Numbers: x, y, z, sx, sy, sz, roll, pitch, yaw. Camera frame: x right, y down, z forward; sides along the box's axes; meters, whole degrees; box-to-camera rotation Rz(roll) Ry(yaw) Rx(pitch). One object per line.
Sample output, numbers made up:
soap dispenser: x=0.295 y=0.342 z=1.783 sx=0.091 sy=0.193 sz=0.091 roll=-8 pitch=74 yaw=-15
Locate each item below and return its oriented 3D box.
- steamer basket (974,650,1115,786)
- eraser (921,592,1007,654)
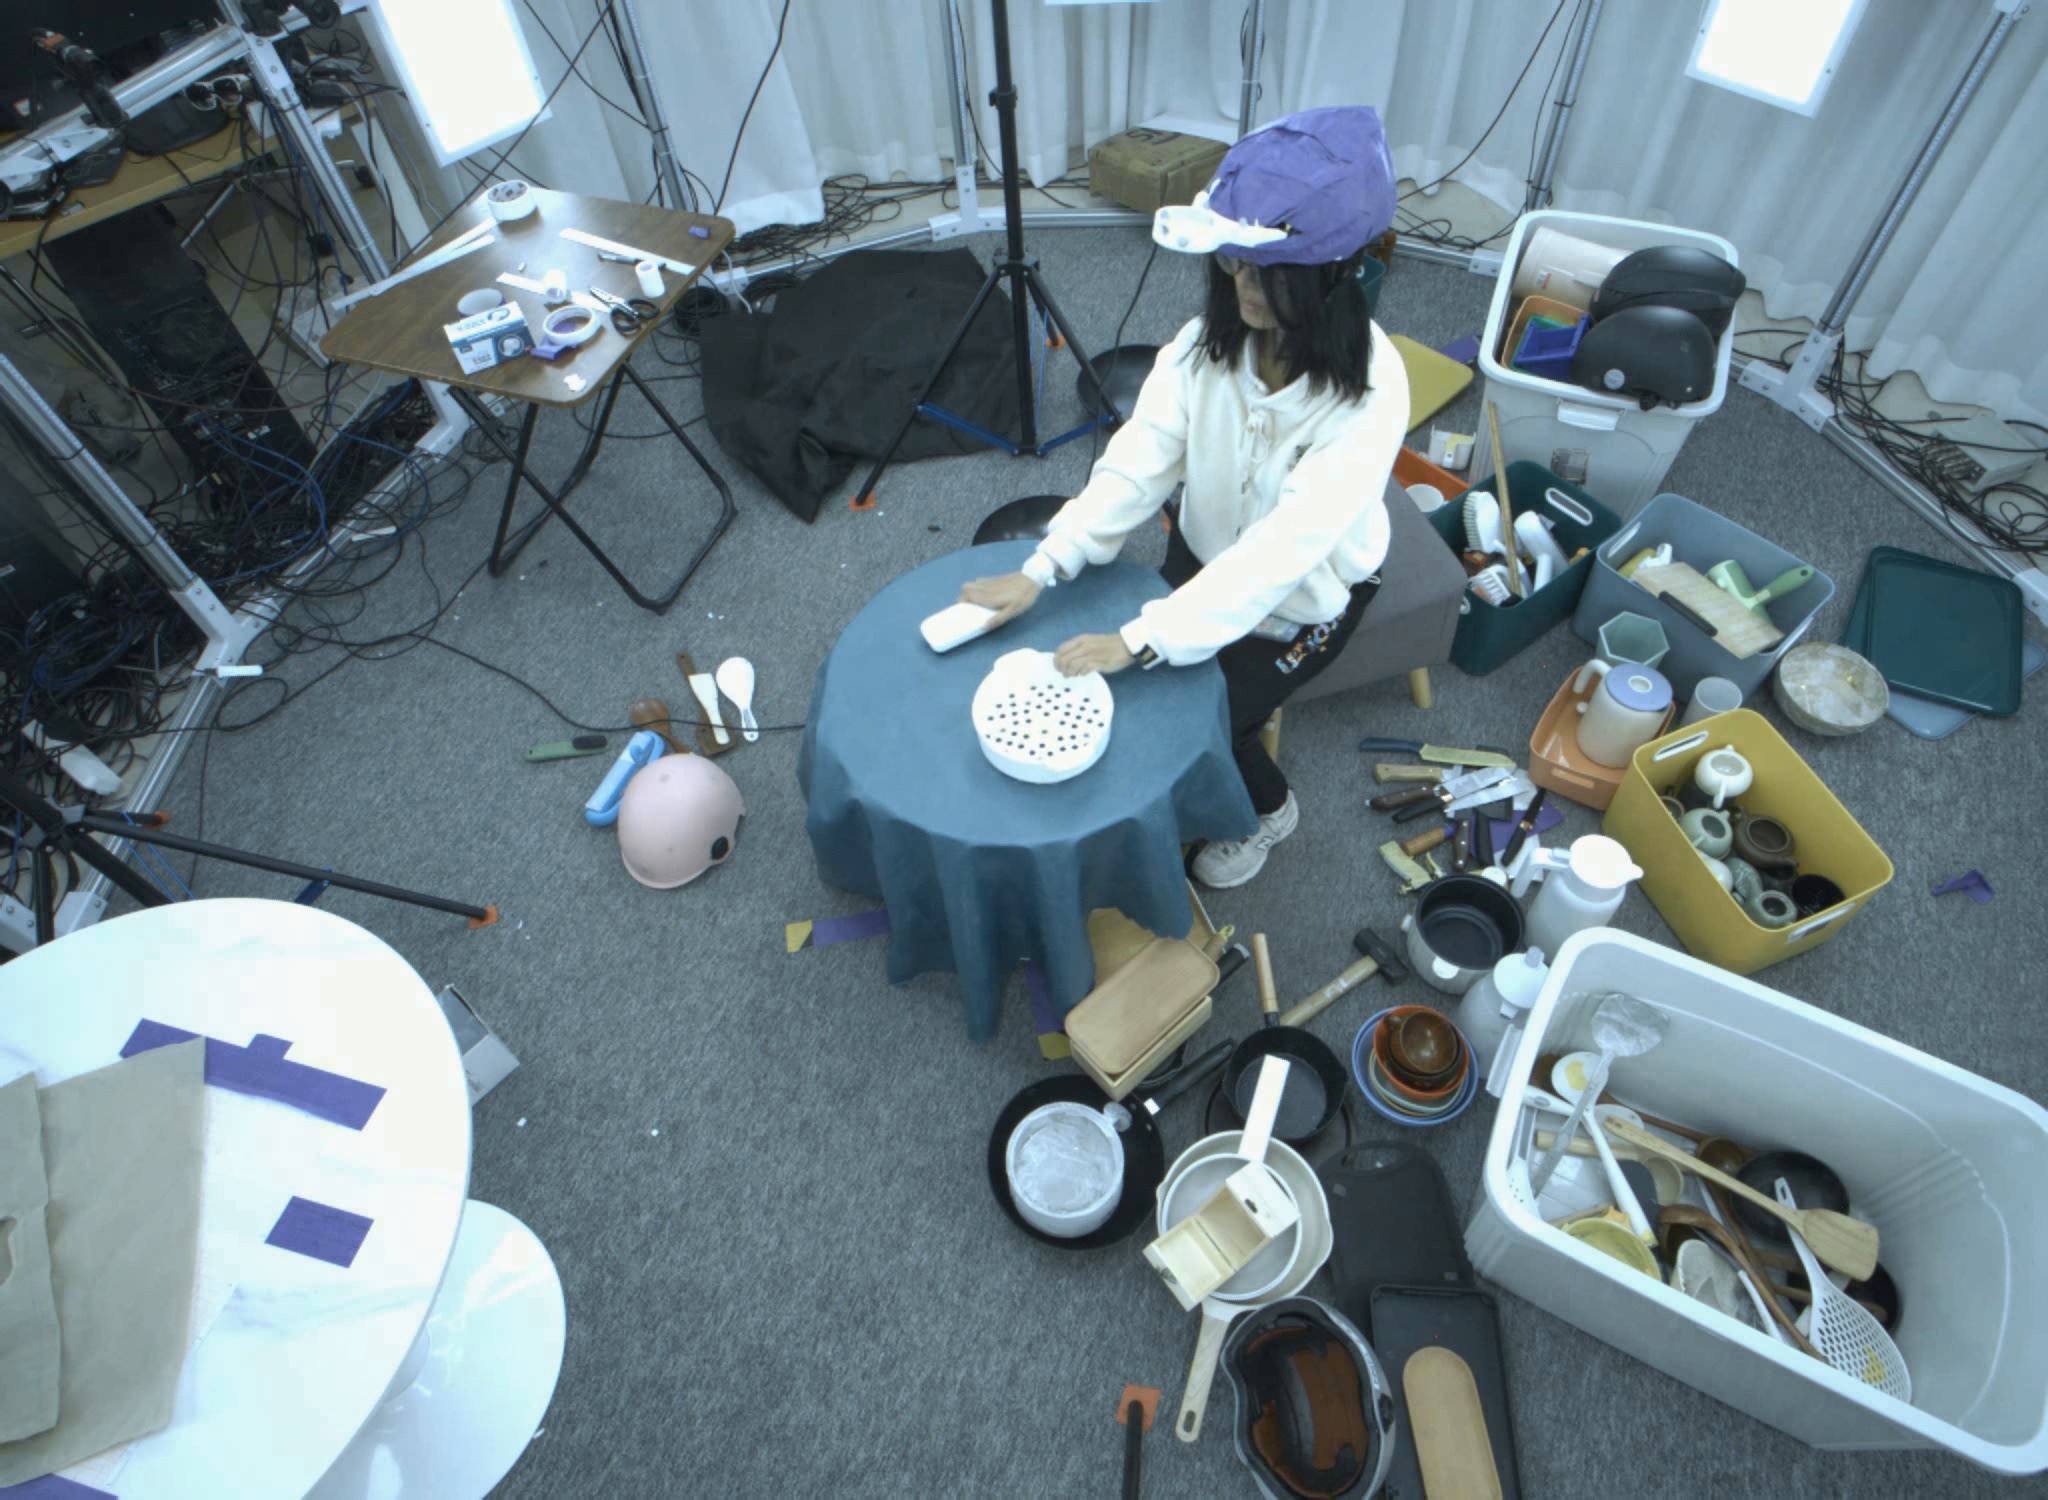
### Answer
steamer basket: x=0.030 y=-0.041 z=1.774 sx=0.203 sy=0.070 sz=0.226 roll=-21 pitch=59 yaw=-13
eraser: x=-0.093 y=-0.199 z=1.909 sx=0.132 sy=0.035 sz=0.062 roll=-27 pitch=59 yaw=-13
